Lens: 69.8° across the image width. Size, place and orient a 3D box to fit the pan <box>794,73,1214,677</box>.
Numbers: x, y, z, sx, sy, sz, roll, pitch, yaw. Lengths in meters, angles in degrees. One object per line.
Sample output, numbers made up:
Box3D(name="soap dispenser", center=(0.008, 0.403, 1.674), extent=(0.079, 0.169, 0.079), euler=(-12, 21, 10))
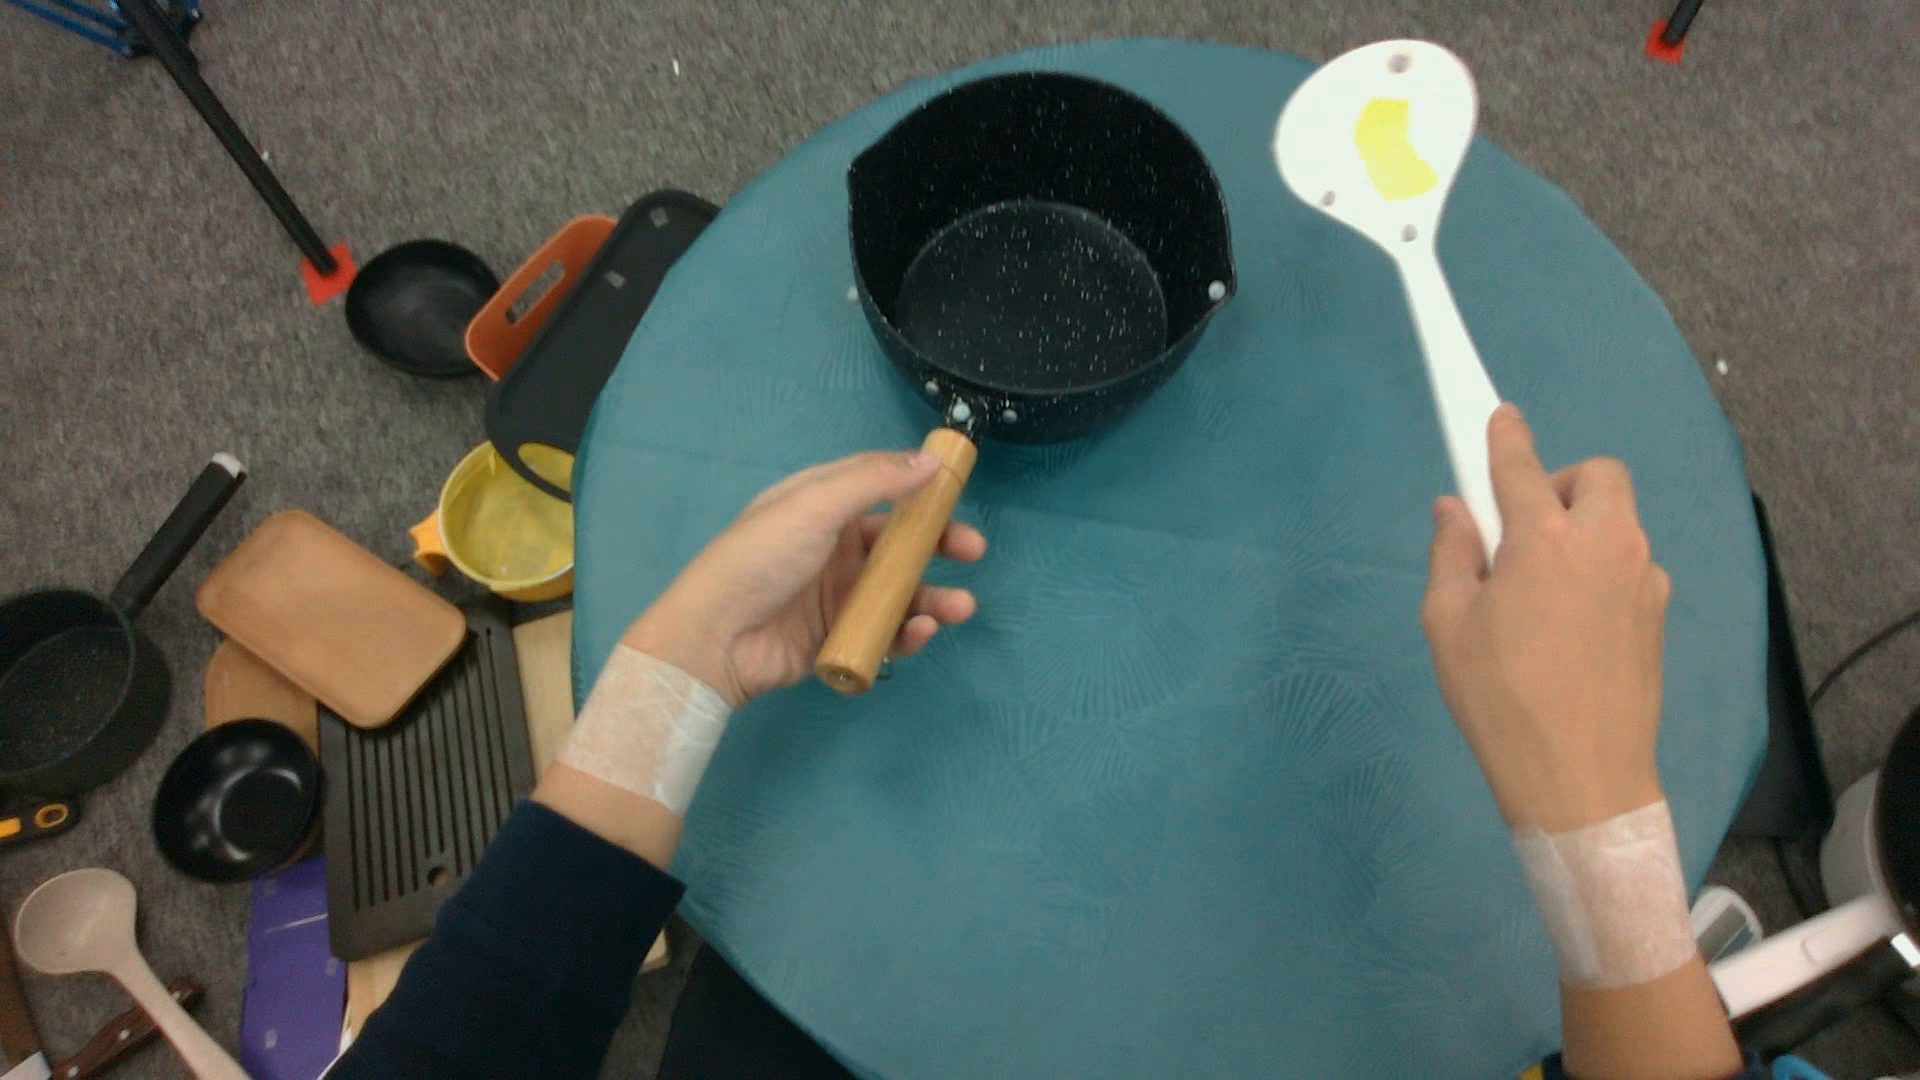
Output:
Box3D(name="pan", center=(0.001, -0.074, 0.668), extent=(0.207, 0.108, 0.344), euler=(18, 66, 6))

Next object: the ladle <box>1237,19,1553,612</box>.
Box3D(name="ladle", center=(0.188, -0.109, 0.585), extent=(0.090, 0.069, 0.294), euler=(-11, 53, 7))
